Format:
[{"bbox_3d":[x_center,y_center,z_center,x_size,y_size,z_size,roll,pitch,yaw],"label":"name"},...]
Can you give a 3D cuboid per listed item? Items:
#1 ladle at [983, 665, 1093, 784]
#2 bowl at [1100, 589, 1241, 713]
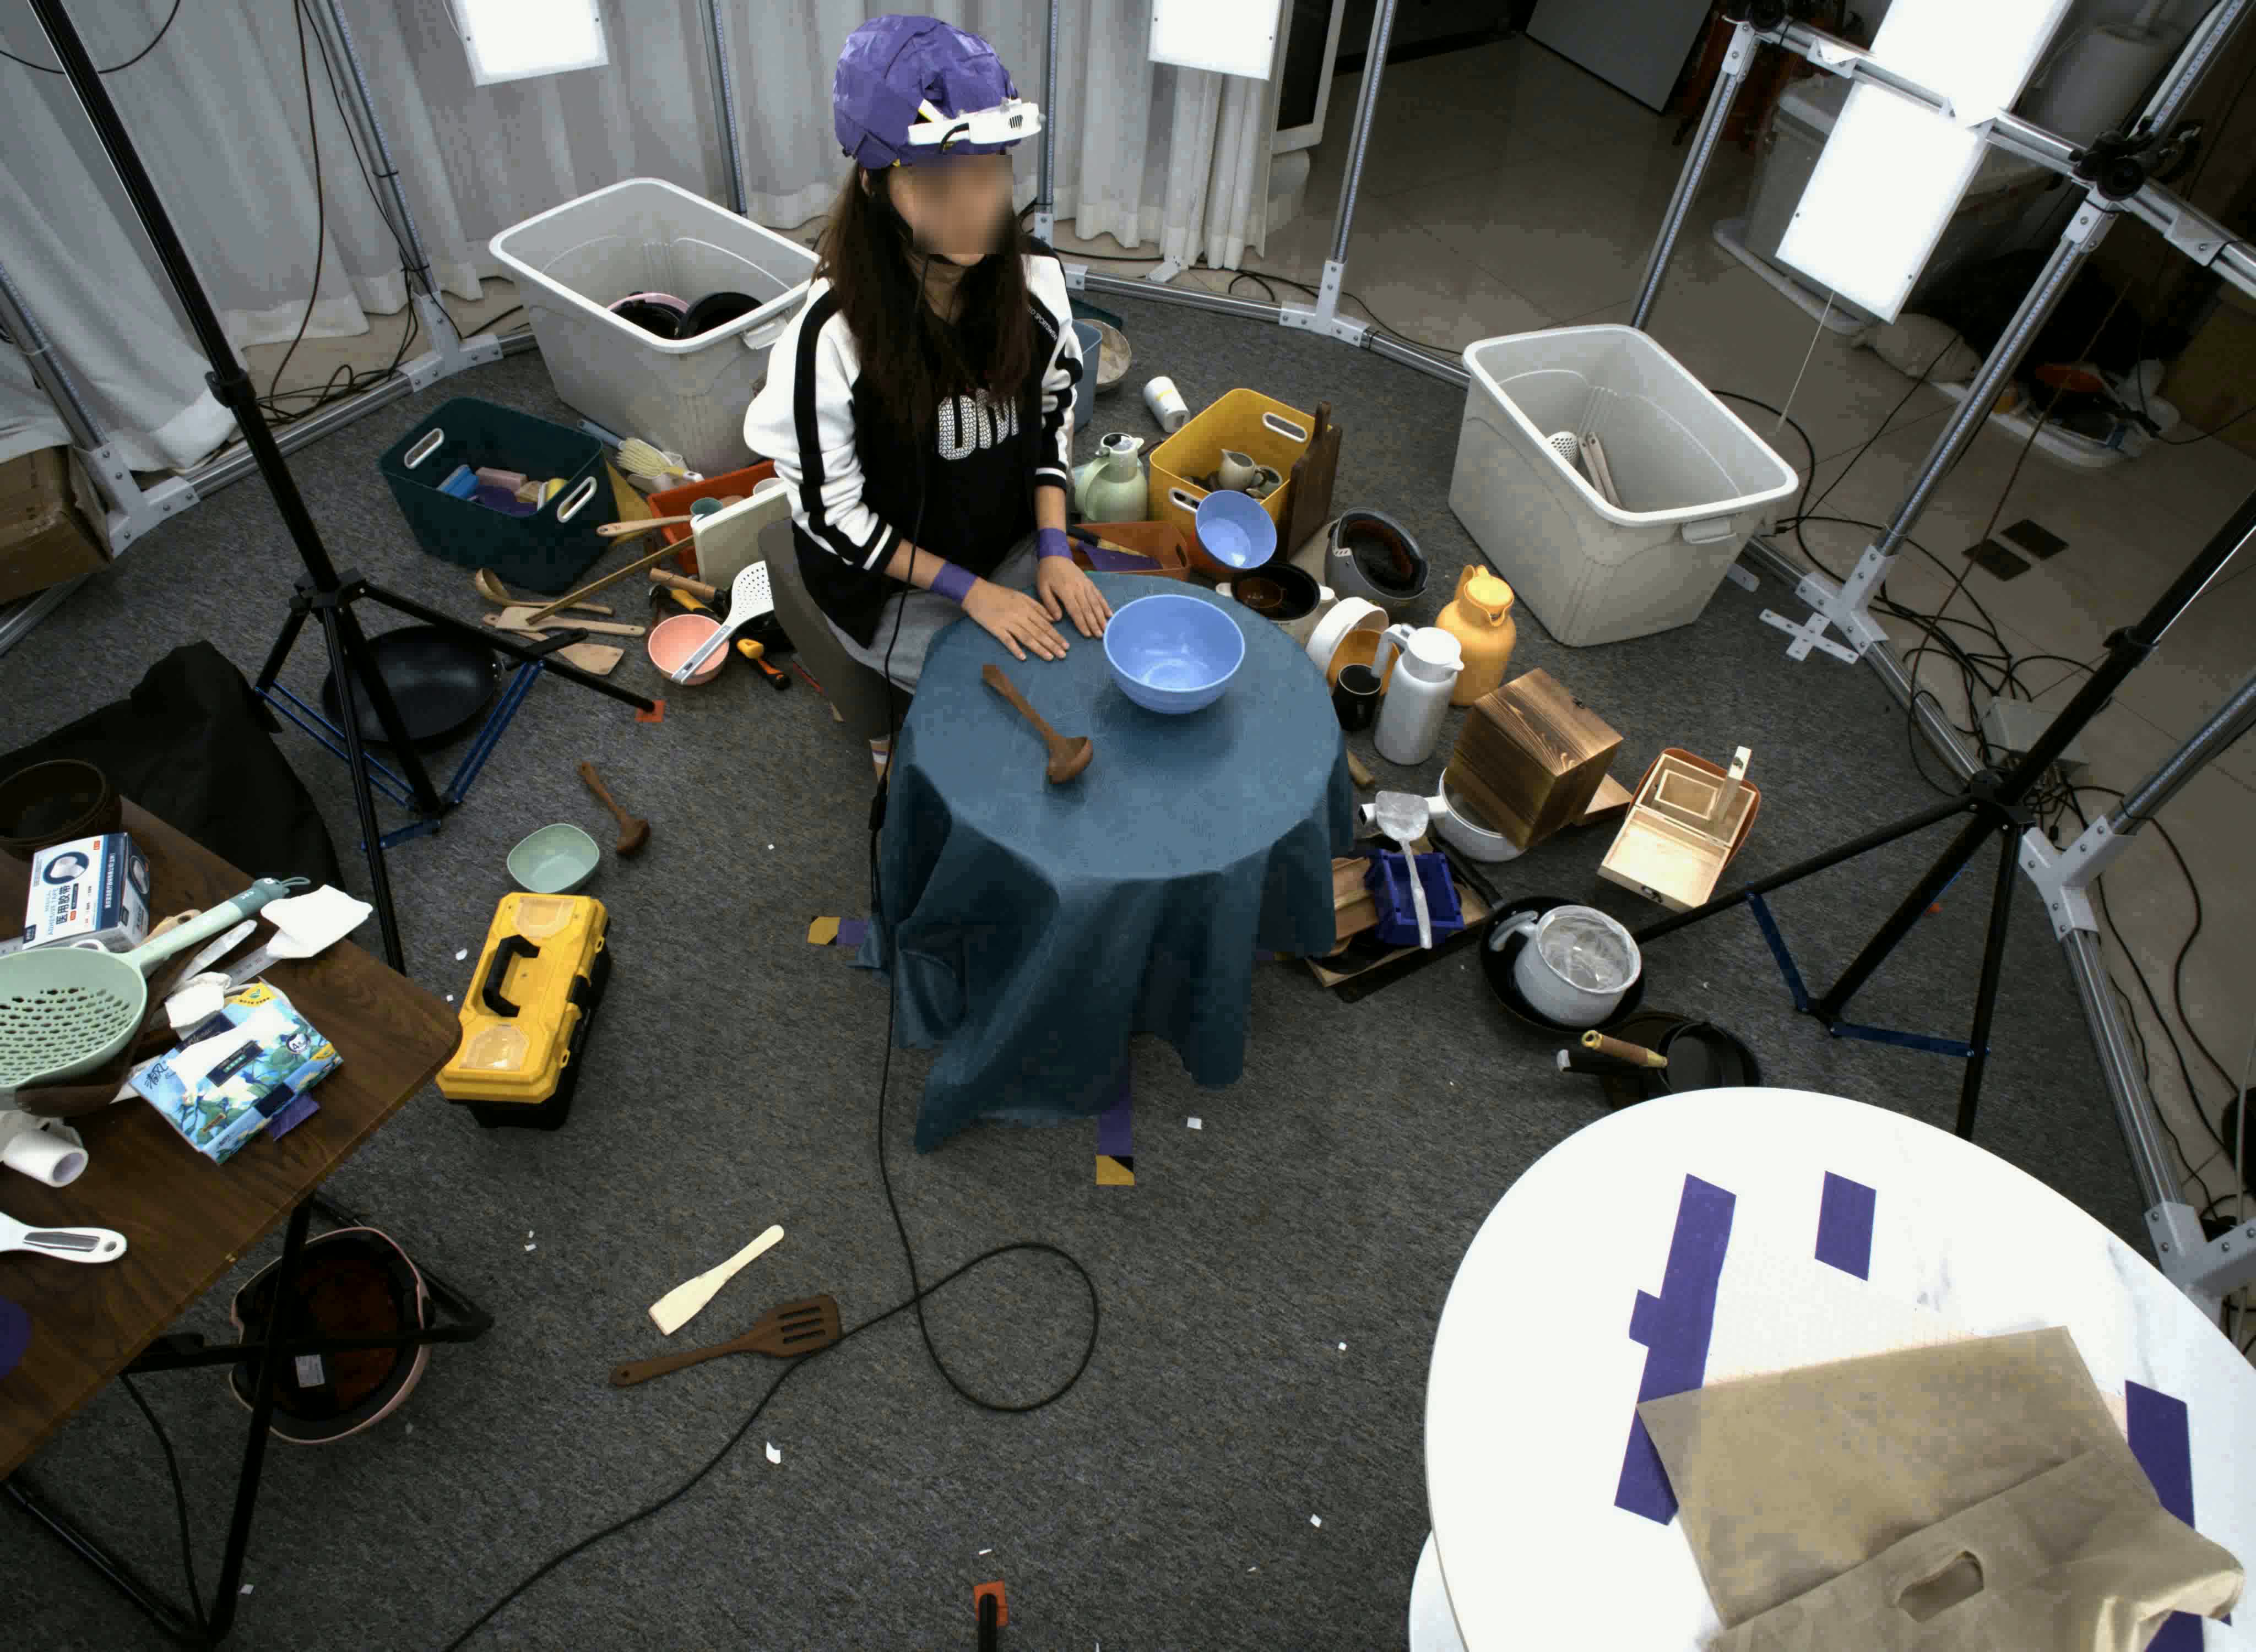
[{"bbox_3d":[-0.135,-0.151,1.753,0.076,0.064,0.265,-41,59,-1],"label":"ladle"},{"bbox_3d":[0.059,-0.233,1.816,0.196,0.093,0.201,0,55,-1],"label":"bowl"}]
